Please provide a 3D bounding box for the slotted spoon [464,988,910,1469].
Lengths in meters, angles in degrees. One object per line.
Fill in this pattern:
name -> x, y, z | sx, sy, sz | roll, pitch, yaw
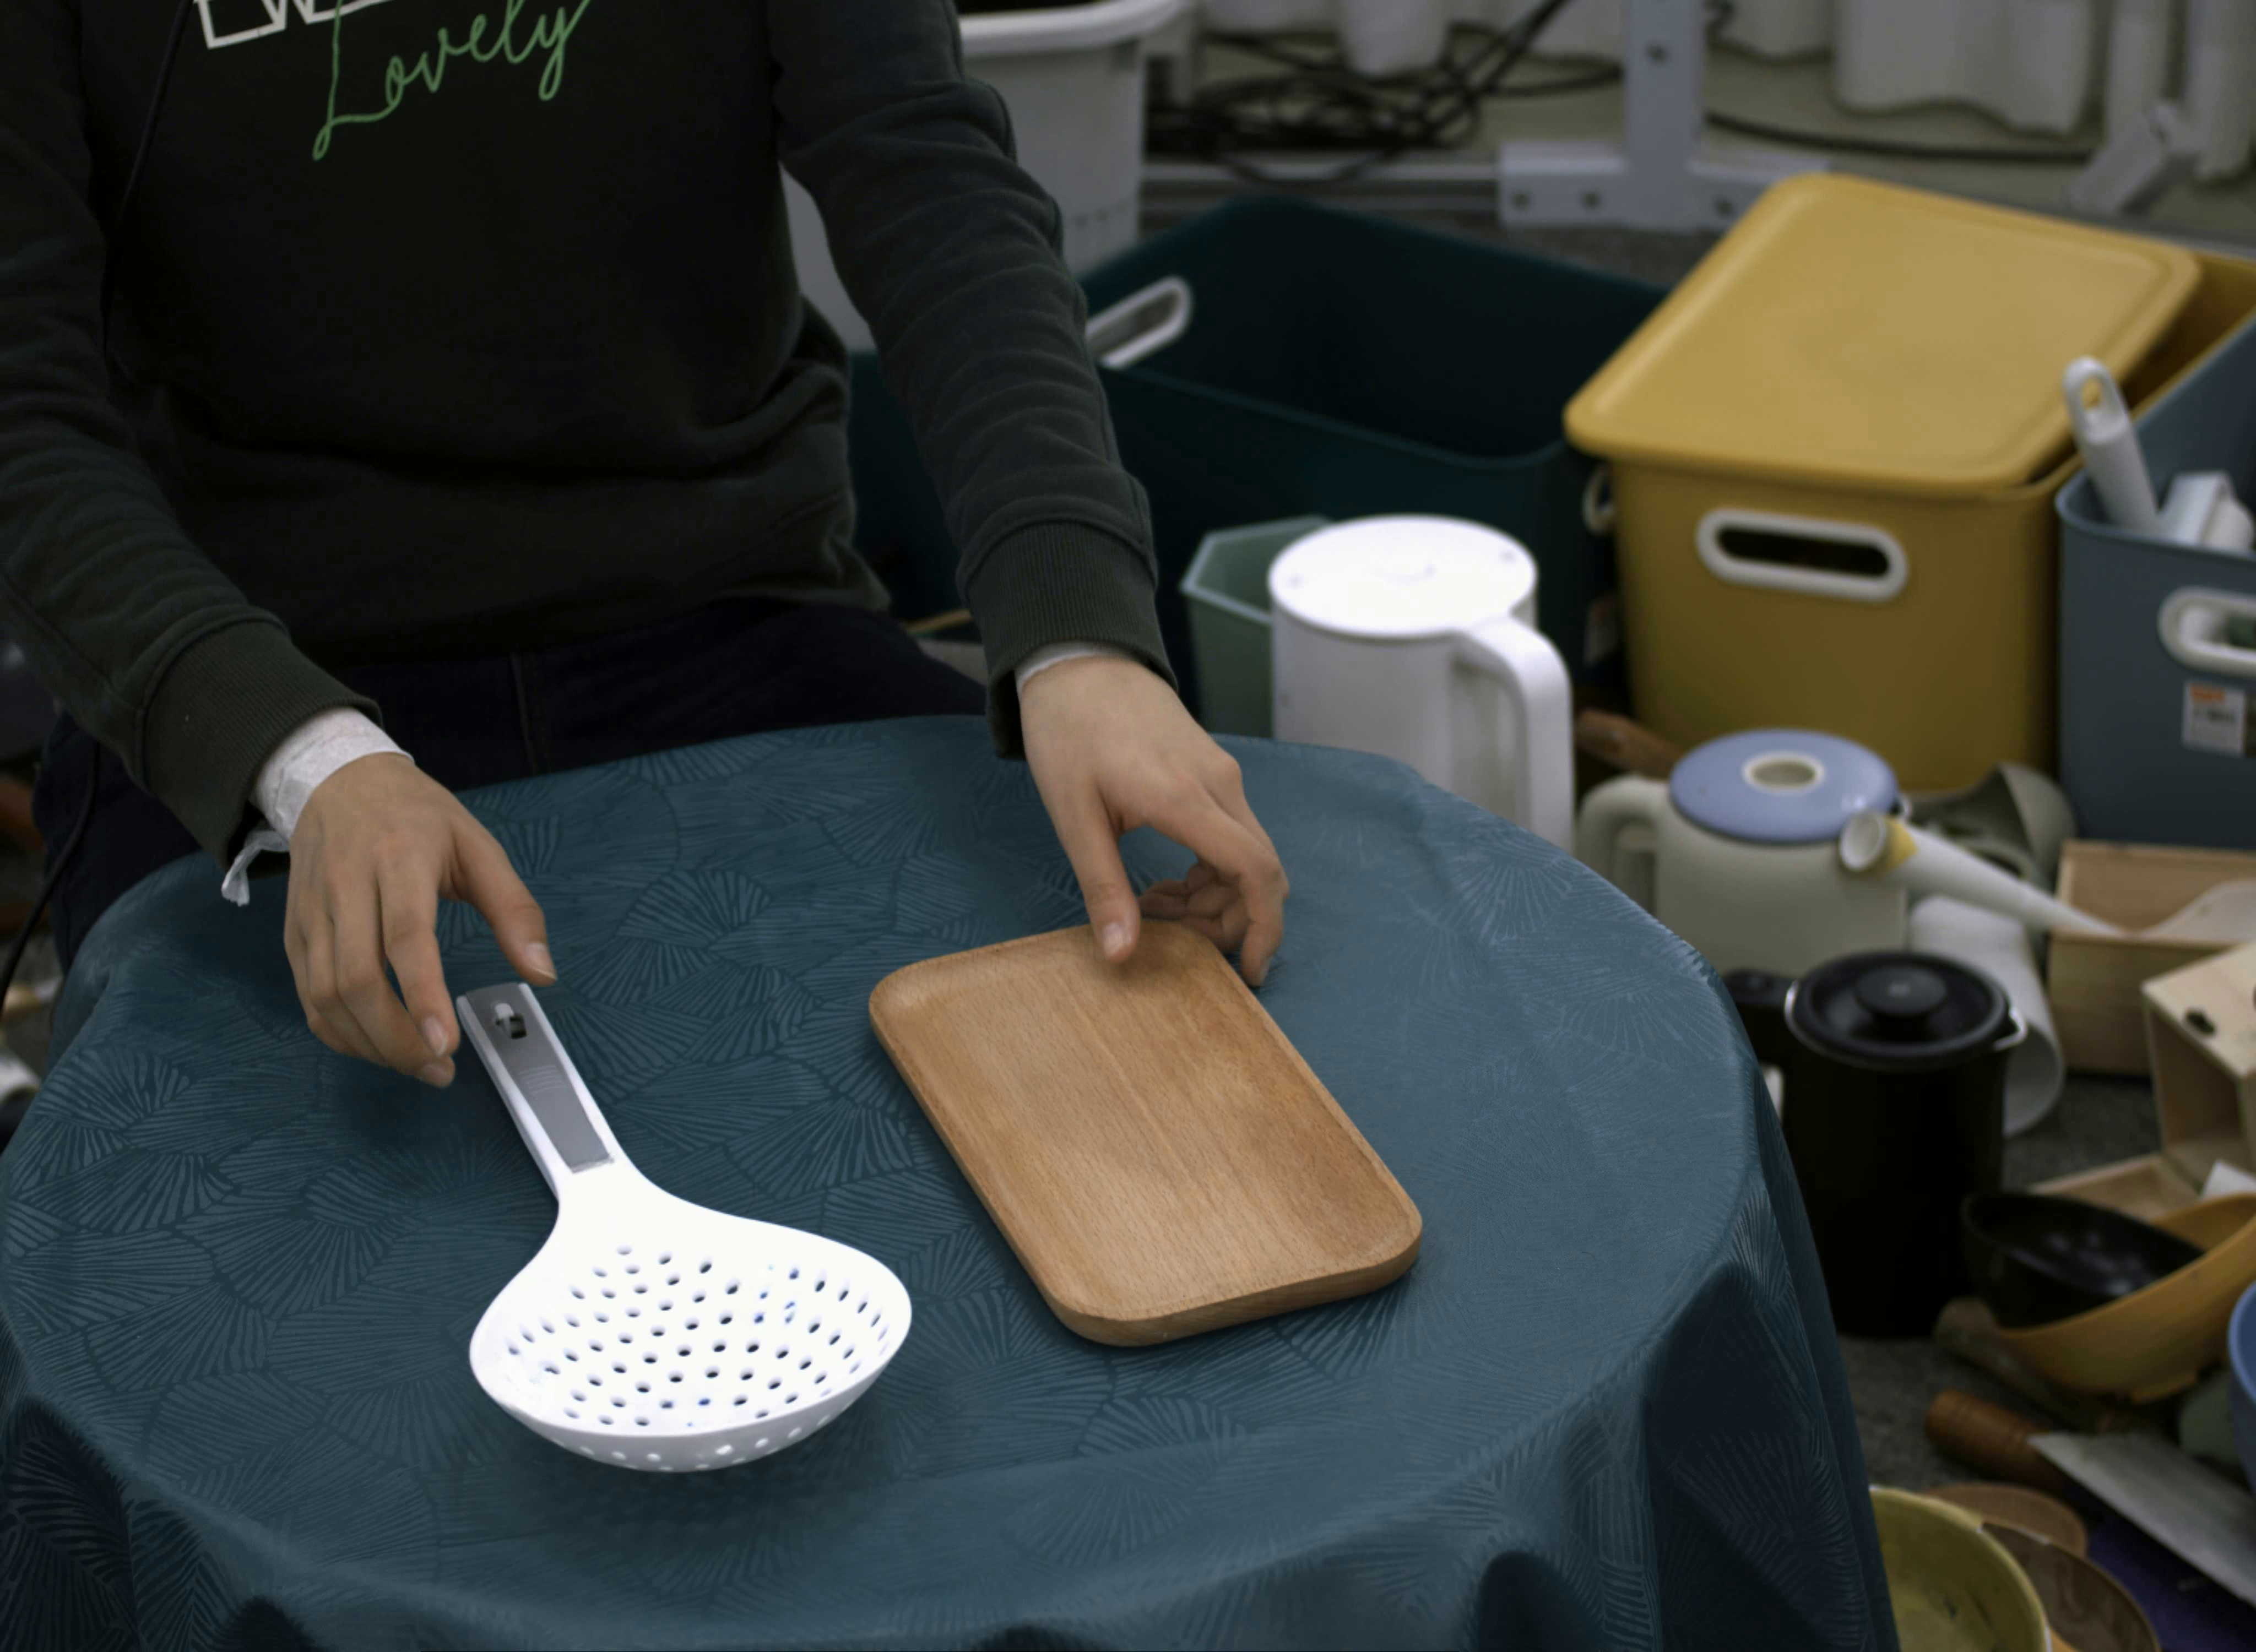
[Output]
slotted spoon -> -0.168, 0.124, 1.824 | 0.136, 0.045, 0.353 | -9, 27, -16

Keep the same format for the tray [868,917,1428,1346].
tray -> 0.003, 0.100, 1.886 | 0.131, 0.022, 0.253 | -10, 27, -16
